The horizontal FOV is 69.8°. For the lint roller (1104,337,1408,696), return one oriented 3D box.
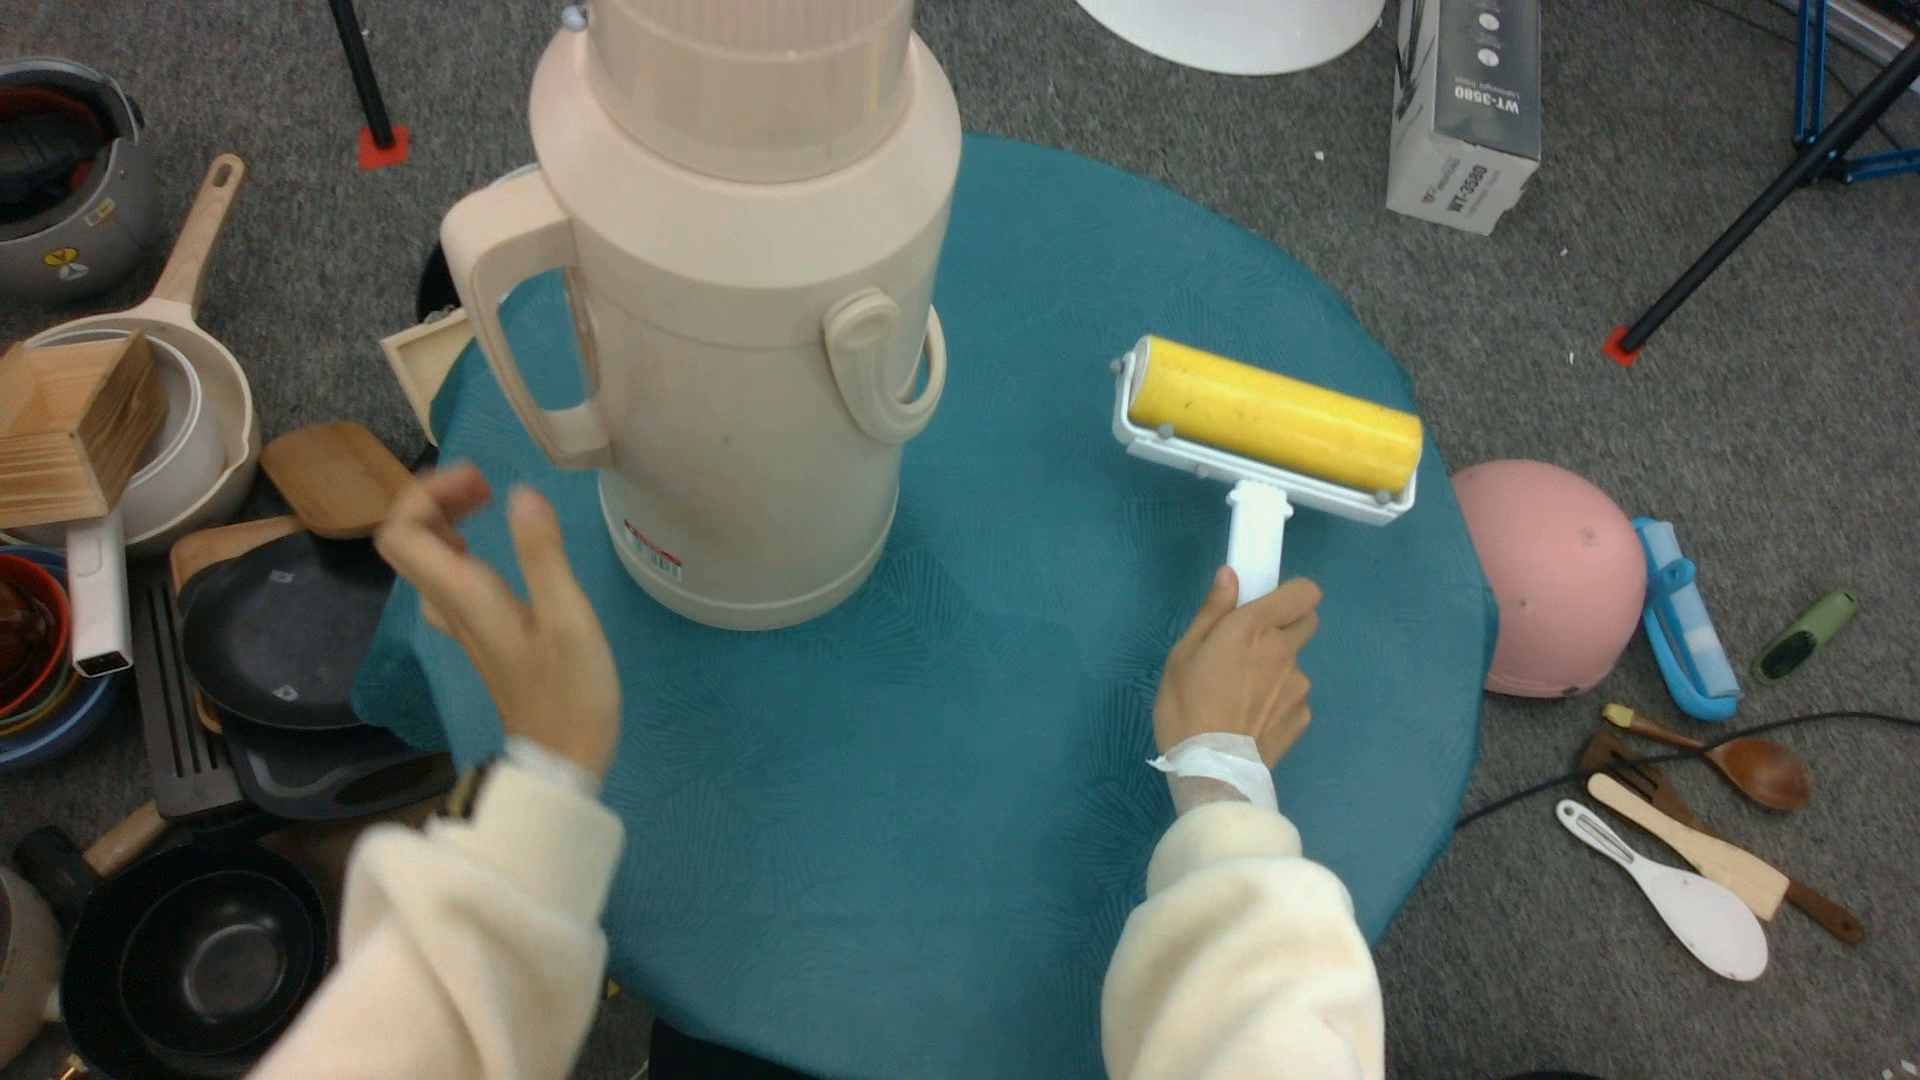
[{"bbox_3d":[0.158,-0.011,0.726,0.174,0.051,0.193,15,51,-10],"label":"lint roller"}]

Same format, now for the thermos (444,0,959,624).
[{"bbox_3d":[-0.103,-0.109,0.592,0.207,0.404,0.175,-26,70,-21],"label":"thermos"}]
